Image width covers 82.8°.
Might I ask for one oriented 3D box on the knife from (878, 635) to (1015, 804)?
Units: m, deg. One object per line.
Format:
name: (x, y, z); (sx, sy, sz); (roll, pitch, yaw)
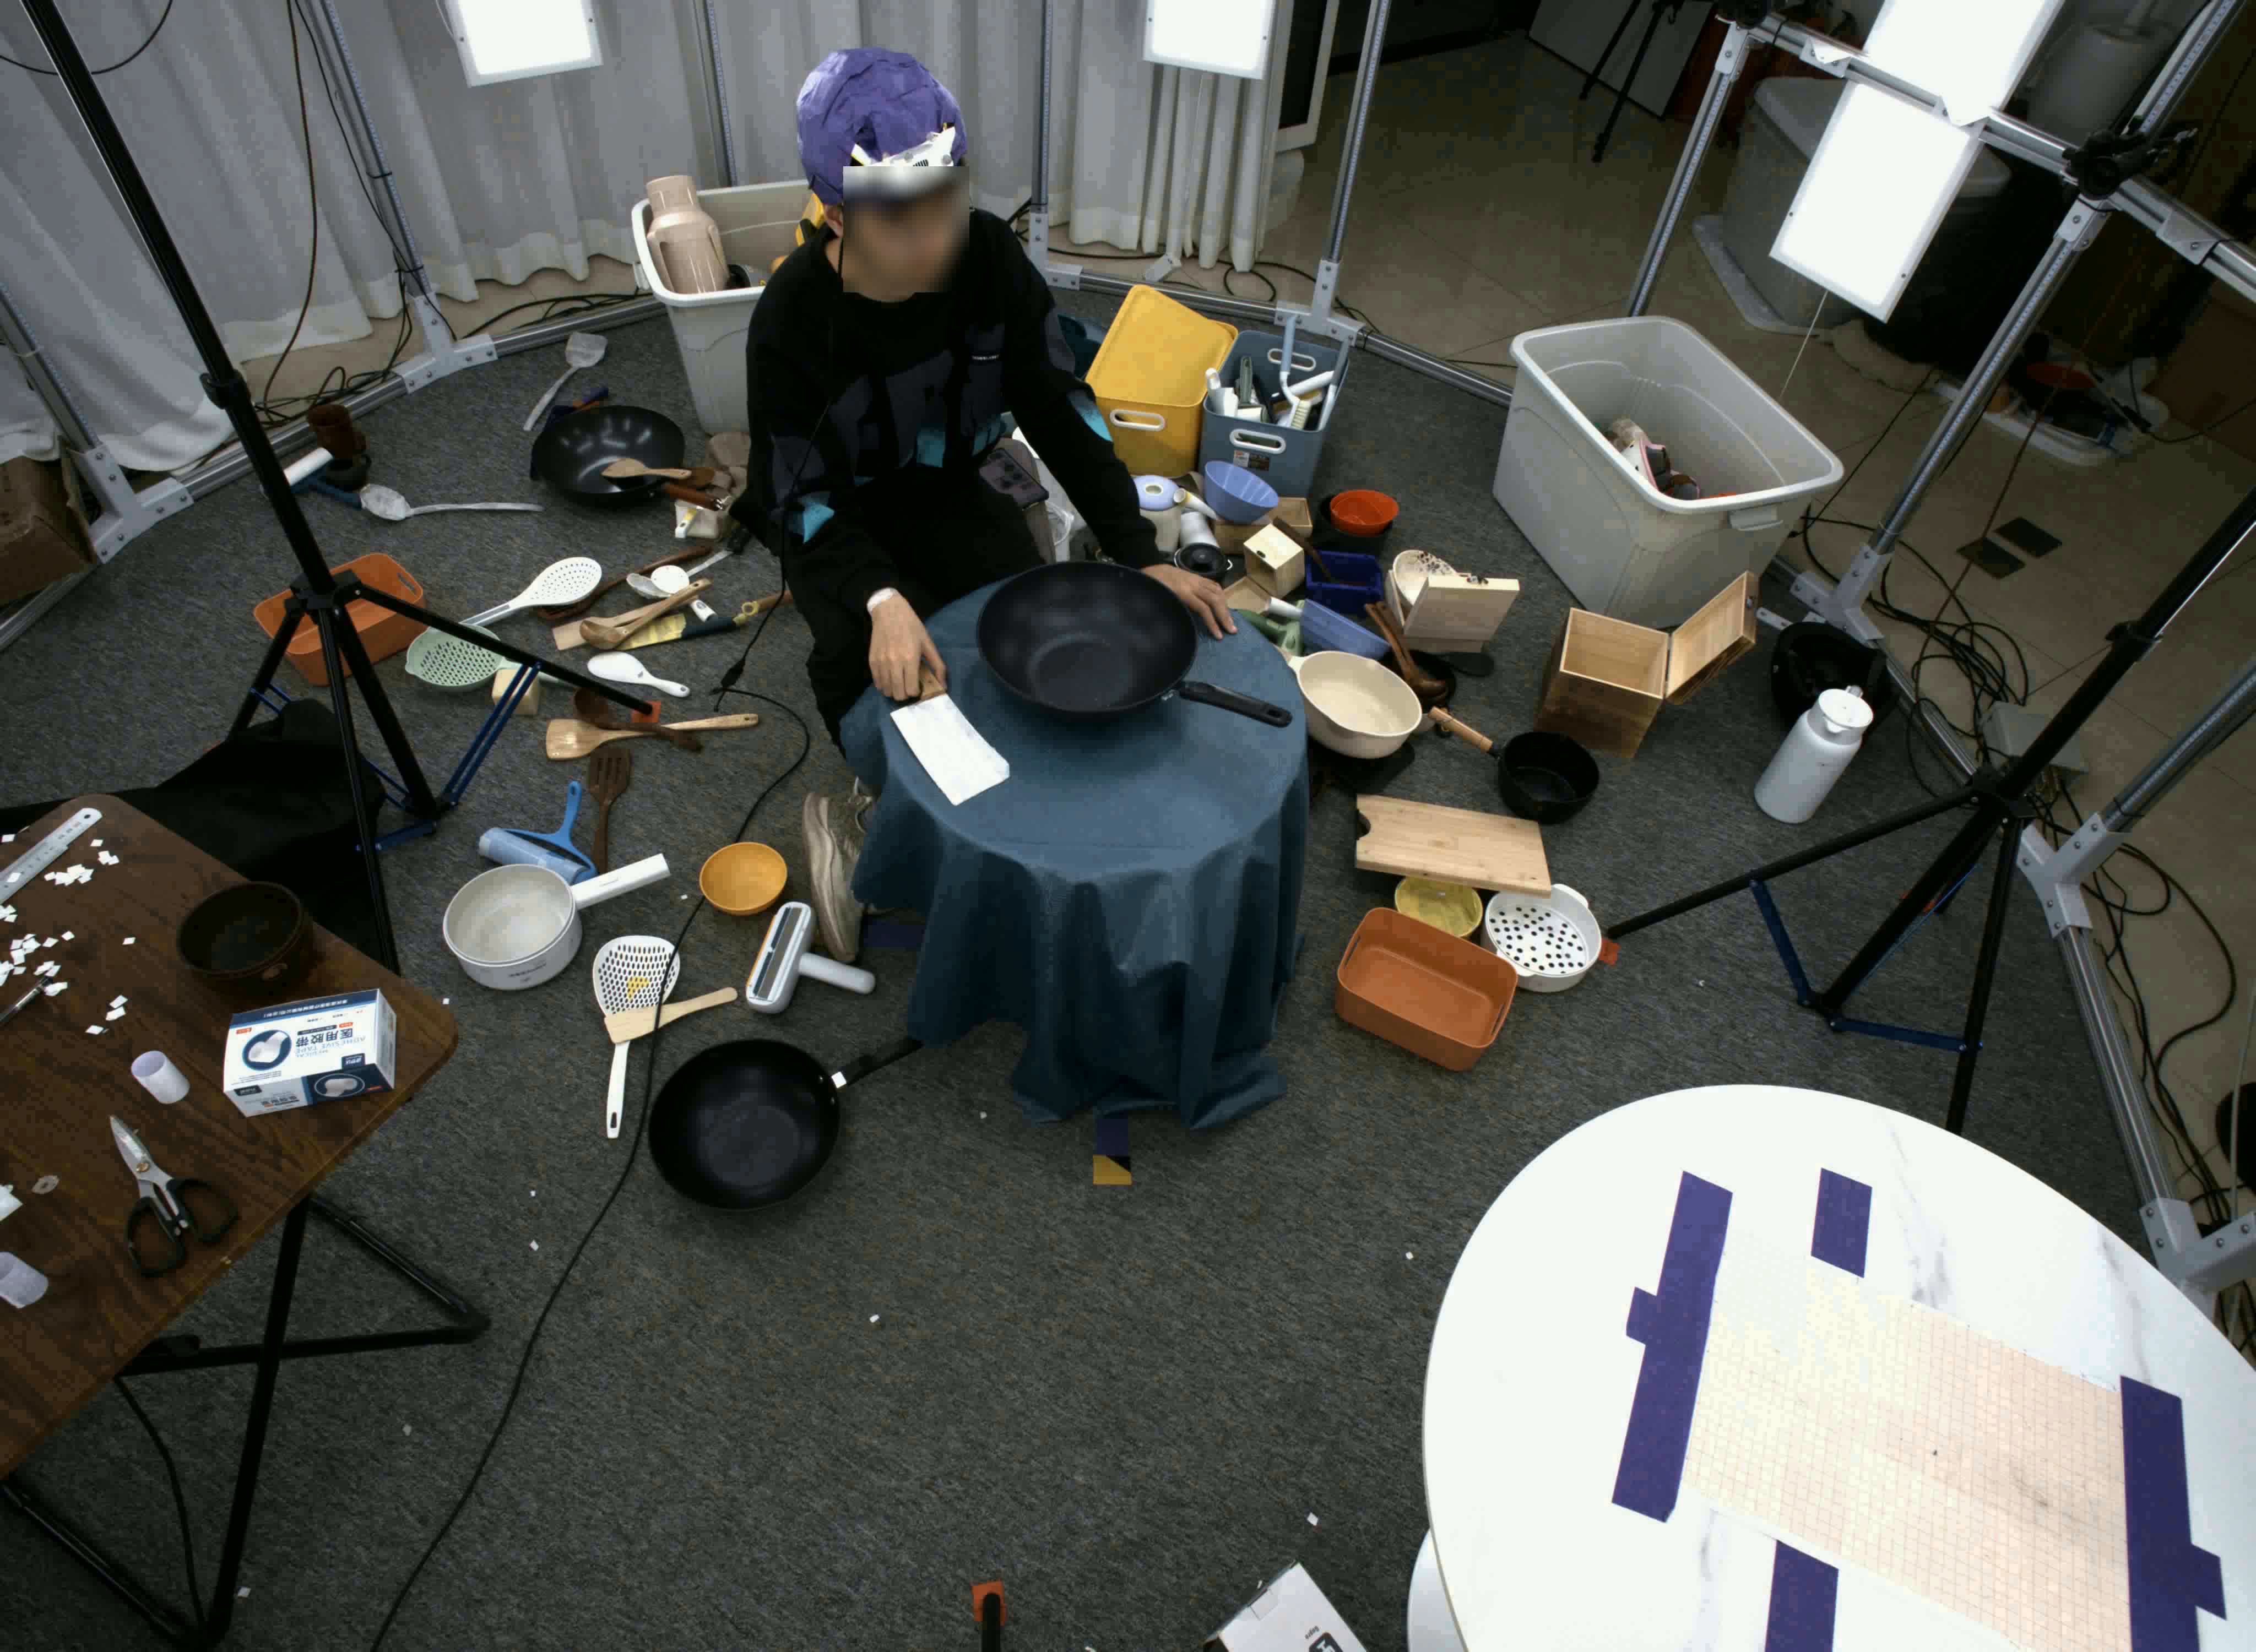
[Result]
knife: (-0.263, -0.154, 1.774); (0.114, 0.021, 0.322); (-21, 56, -21)

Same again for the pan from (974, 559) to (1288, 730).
pan: (0.008, -0.214, 1.787); (0.482, 0.109, 0.314); (29, 55, 20)
